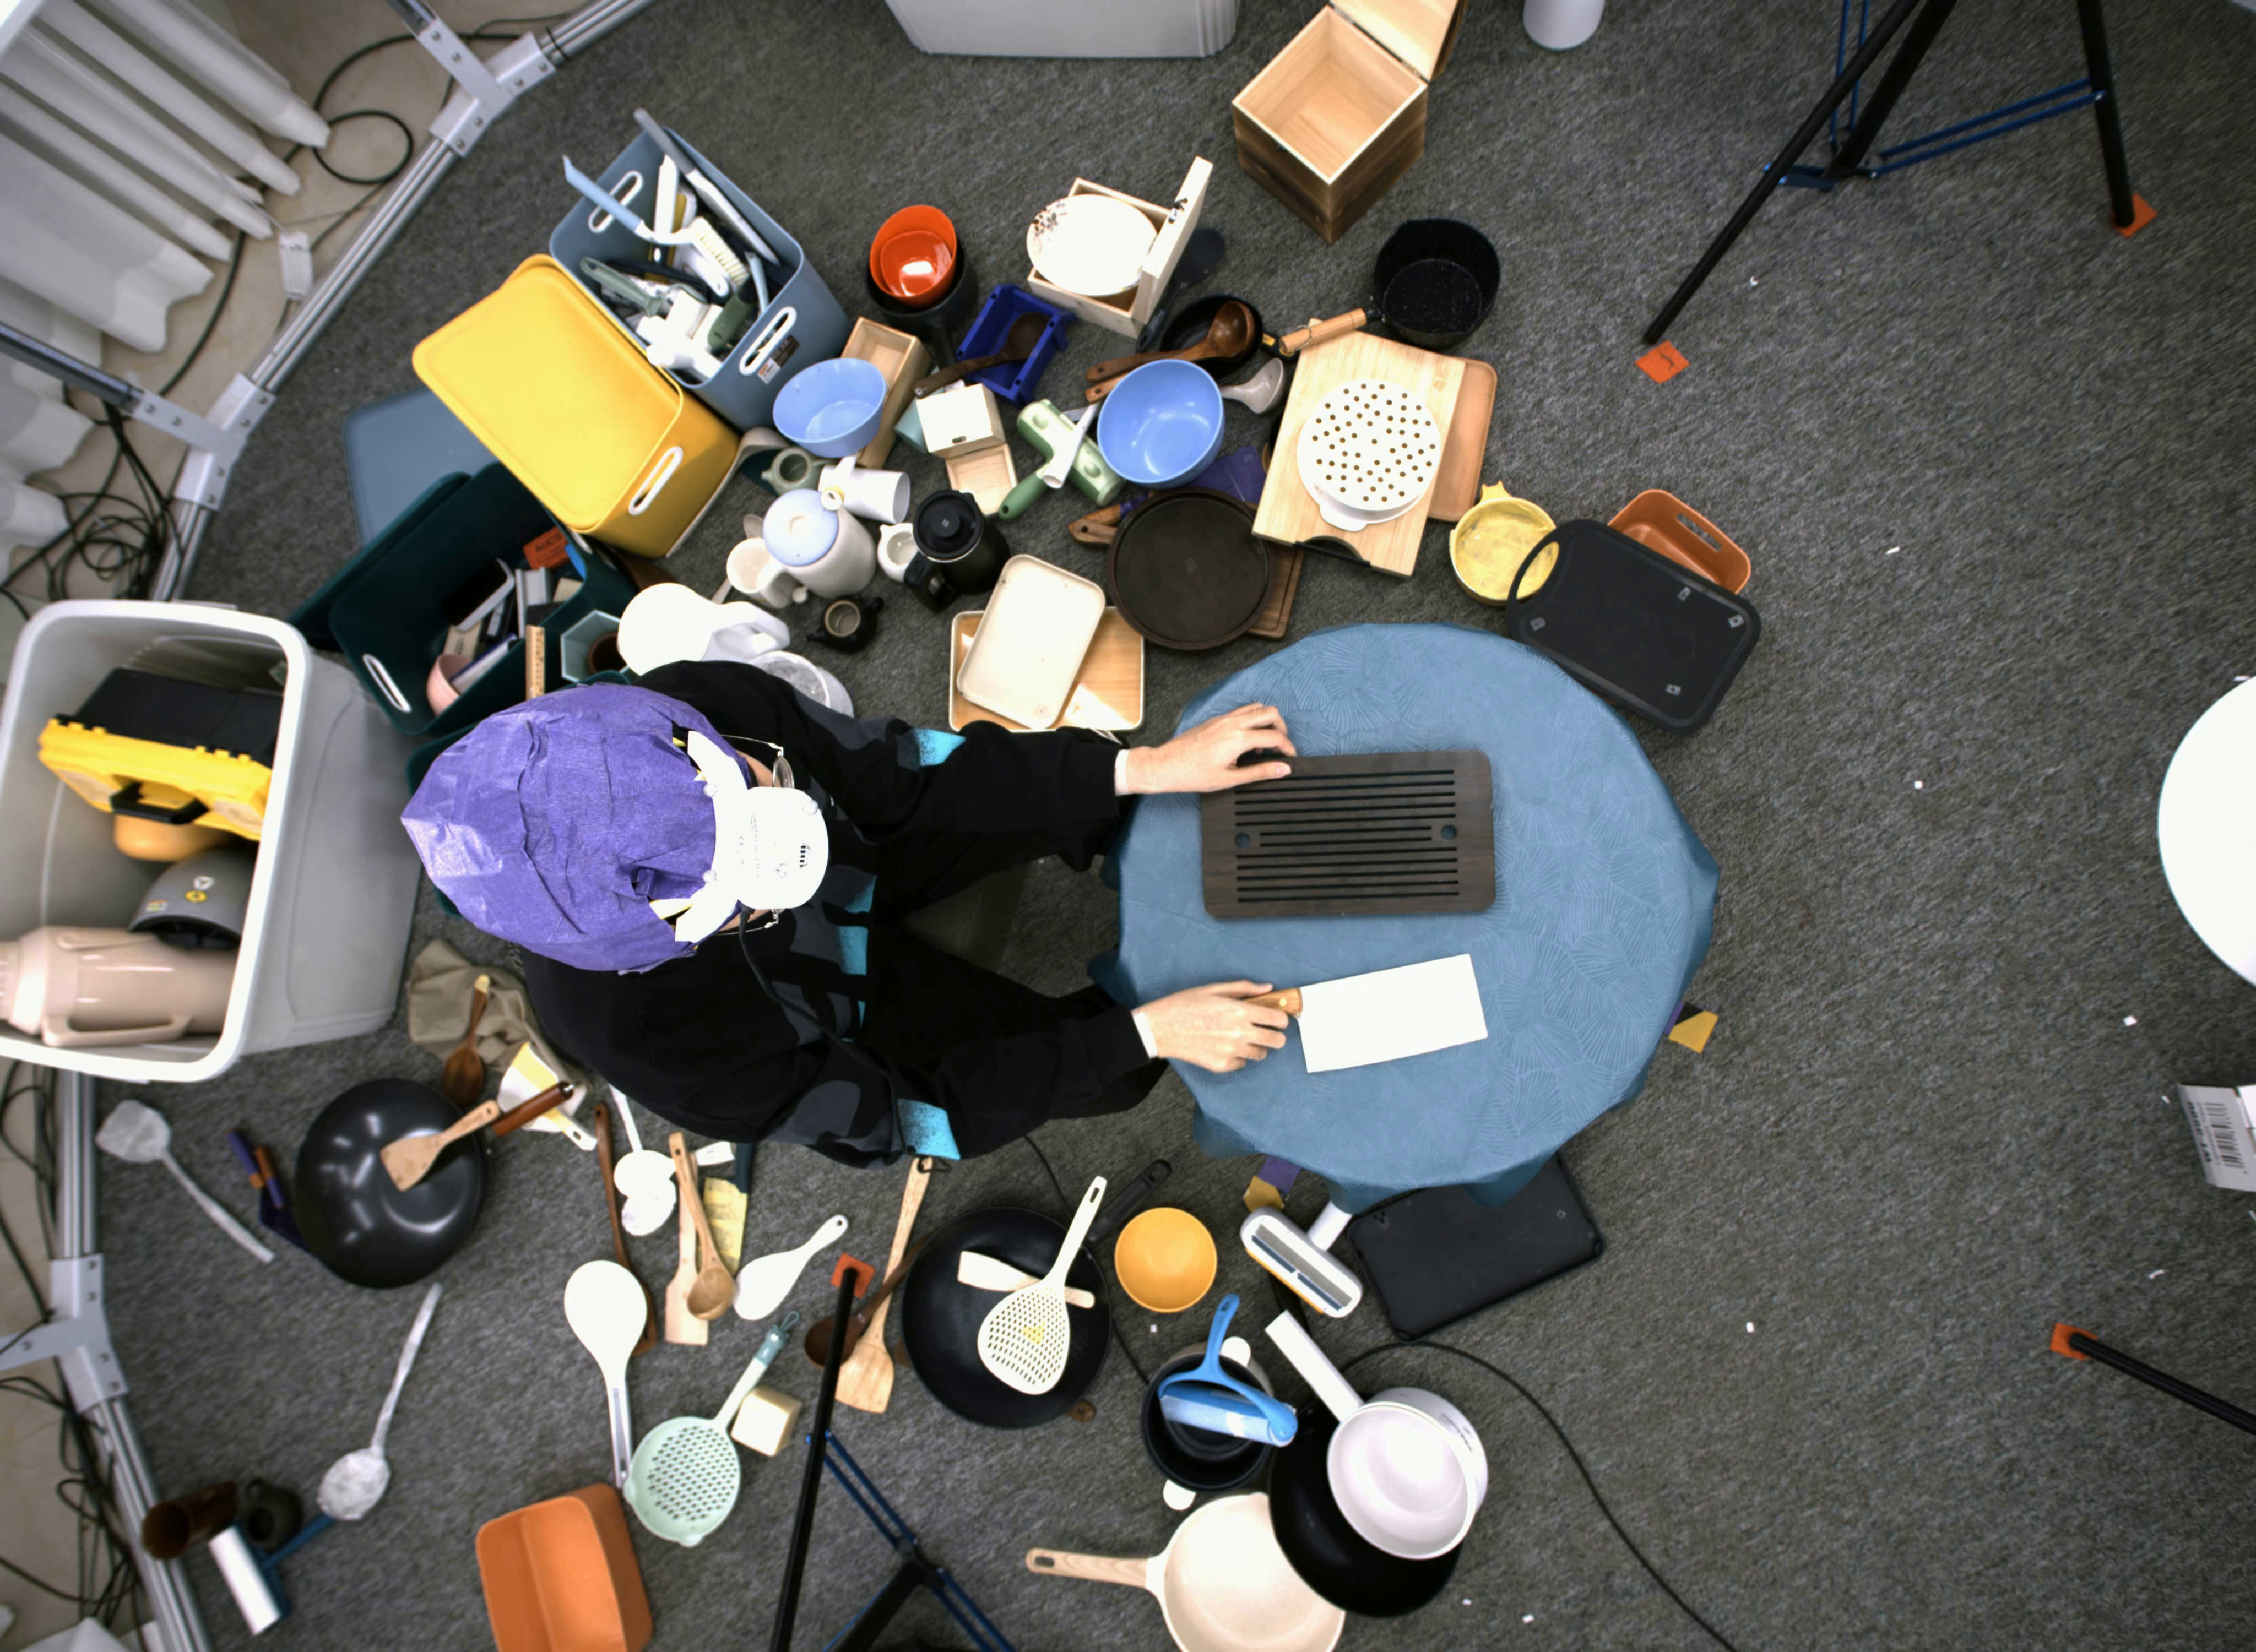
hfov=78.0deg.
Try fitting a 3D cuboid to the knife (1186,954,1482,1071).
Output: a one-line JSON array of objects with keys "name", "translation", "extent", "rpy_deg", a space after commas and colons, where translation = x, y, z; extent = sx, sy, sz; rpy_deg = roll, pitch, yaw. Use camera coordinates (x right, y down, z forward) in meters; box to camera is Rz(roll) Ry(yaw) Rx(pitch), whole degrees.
[{"name": "knife", "translation": [0.217, 0.205, 1.454], "extent": [0.307, 0.021, 0.092], "rpy_deg": [-12, 85, 7]}]

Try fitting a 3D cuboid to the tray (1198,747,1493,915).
[{"name": "tray", "translation": [0.228, 0.005, 1.458], "extent": [0.307, 0.018, 0.170], "rpy_deg": [-2, 90, 10]}]
